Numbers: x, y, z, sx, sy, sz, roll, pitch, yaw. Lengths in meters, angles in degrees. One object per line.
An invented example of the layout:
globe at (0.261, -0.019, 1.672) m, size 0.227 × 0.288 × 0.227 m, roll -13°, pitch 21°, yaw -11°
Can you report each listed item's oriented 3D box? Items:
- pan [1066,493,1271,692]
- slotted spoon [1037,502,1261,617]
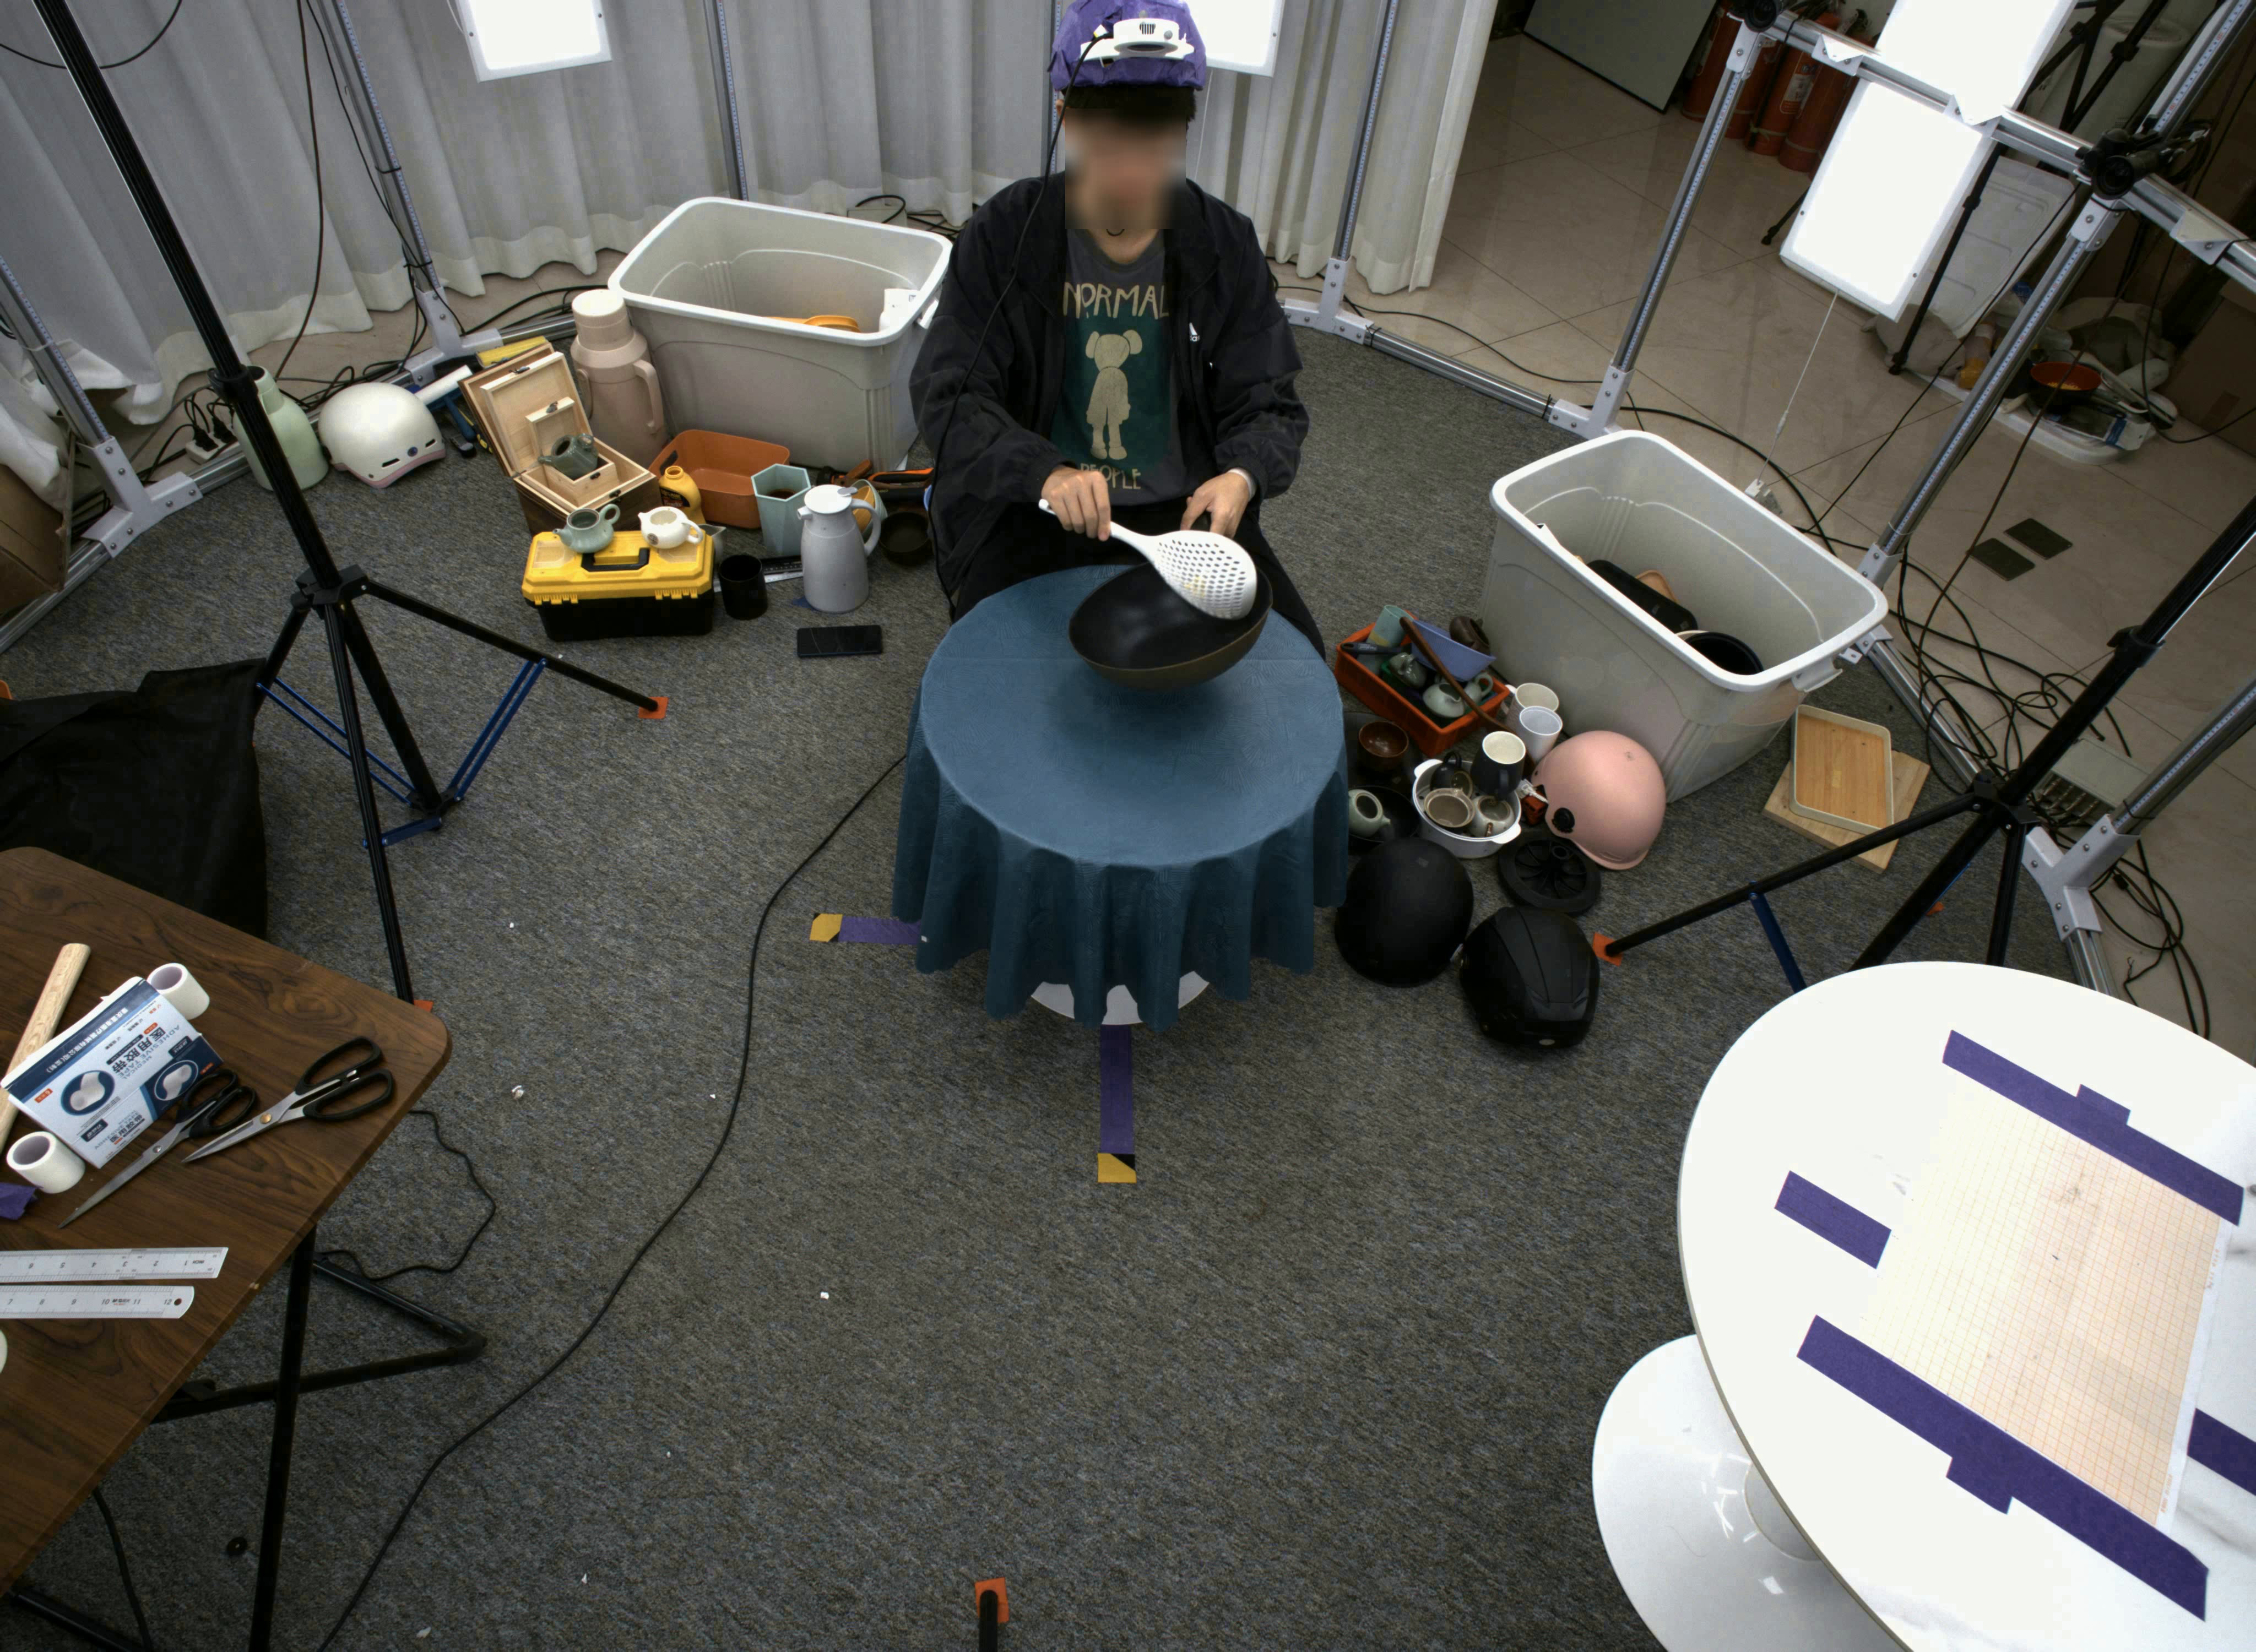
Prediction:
pan at (0.084, -0.329, 1.835) m, size 0.289 × 0.085 × 0.473 m, roll -1°, pitch 41°, yaw 20°
slotted spoon at (0.026, -0.390, 1.813) m, size 0.351 × 0.133 × 0.051 m, roll 29°, pitch 52°, yaw 21°
